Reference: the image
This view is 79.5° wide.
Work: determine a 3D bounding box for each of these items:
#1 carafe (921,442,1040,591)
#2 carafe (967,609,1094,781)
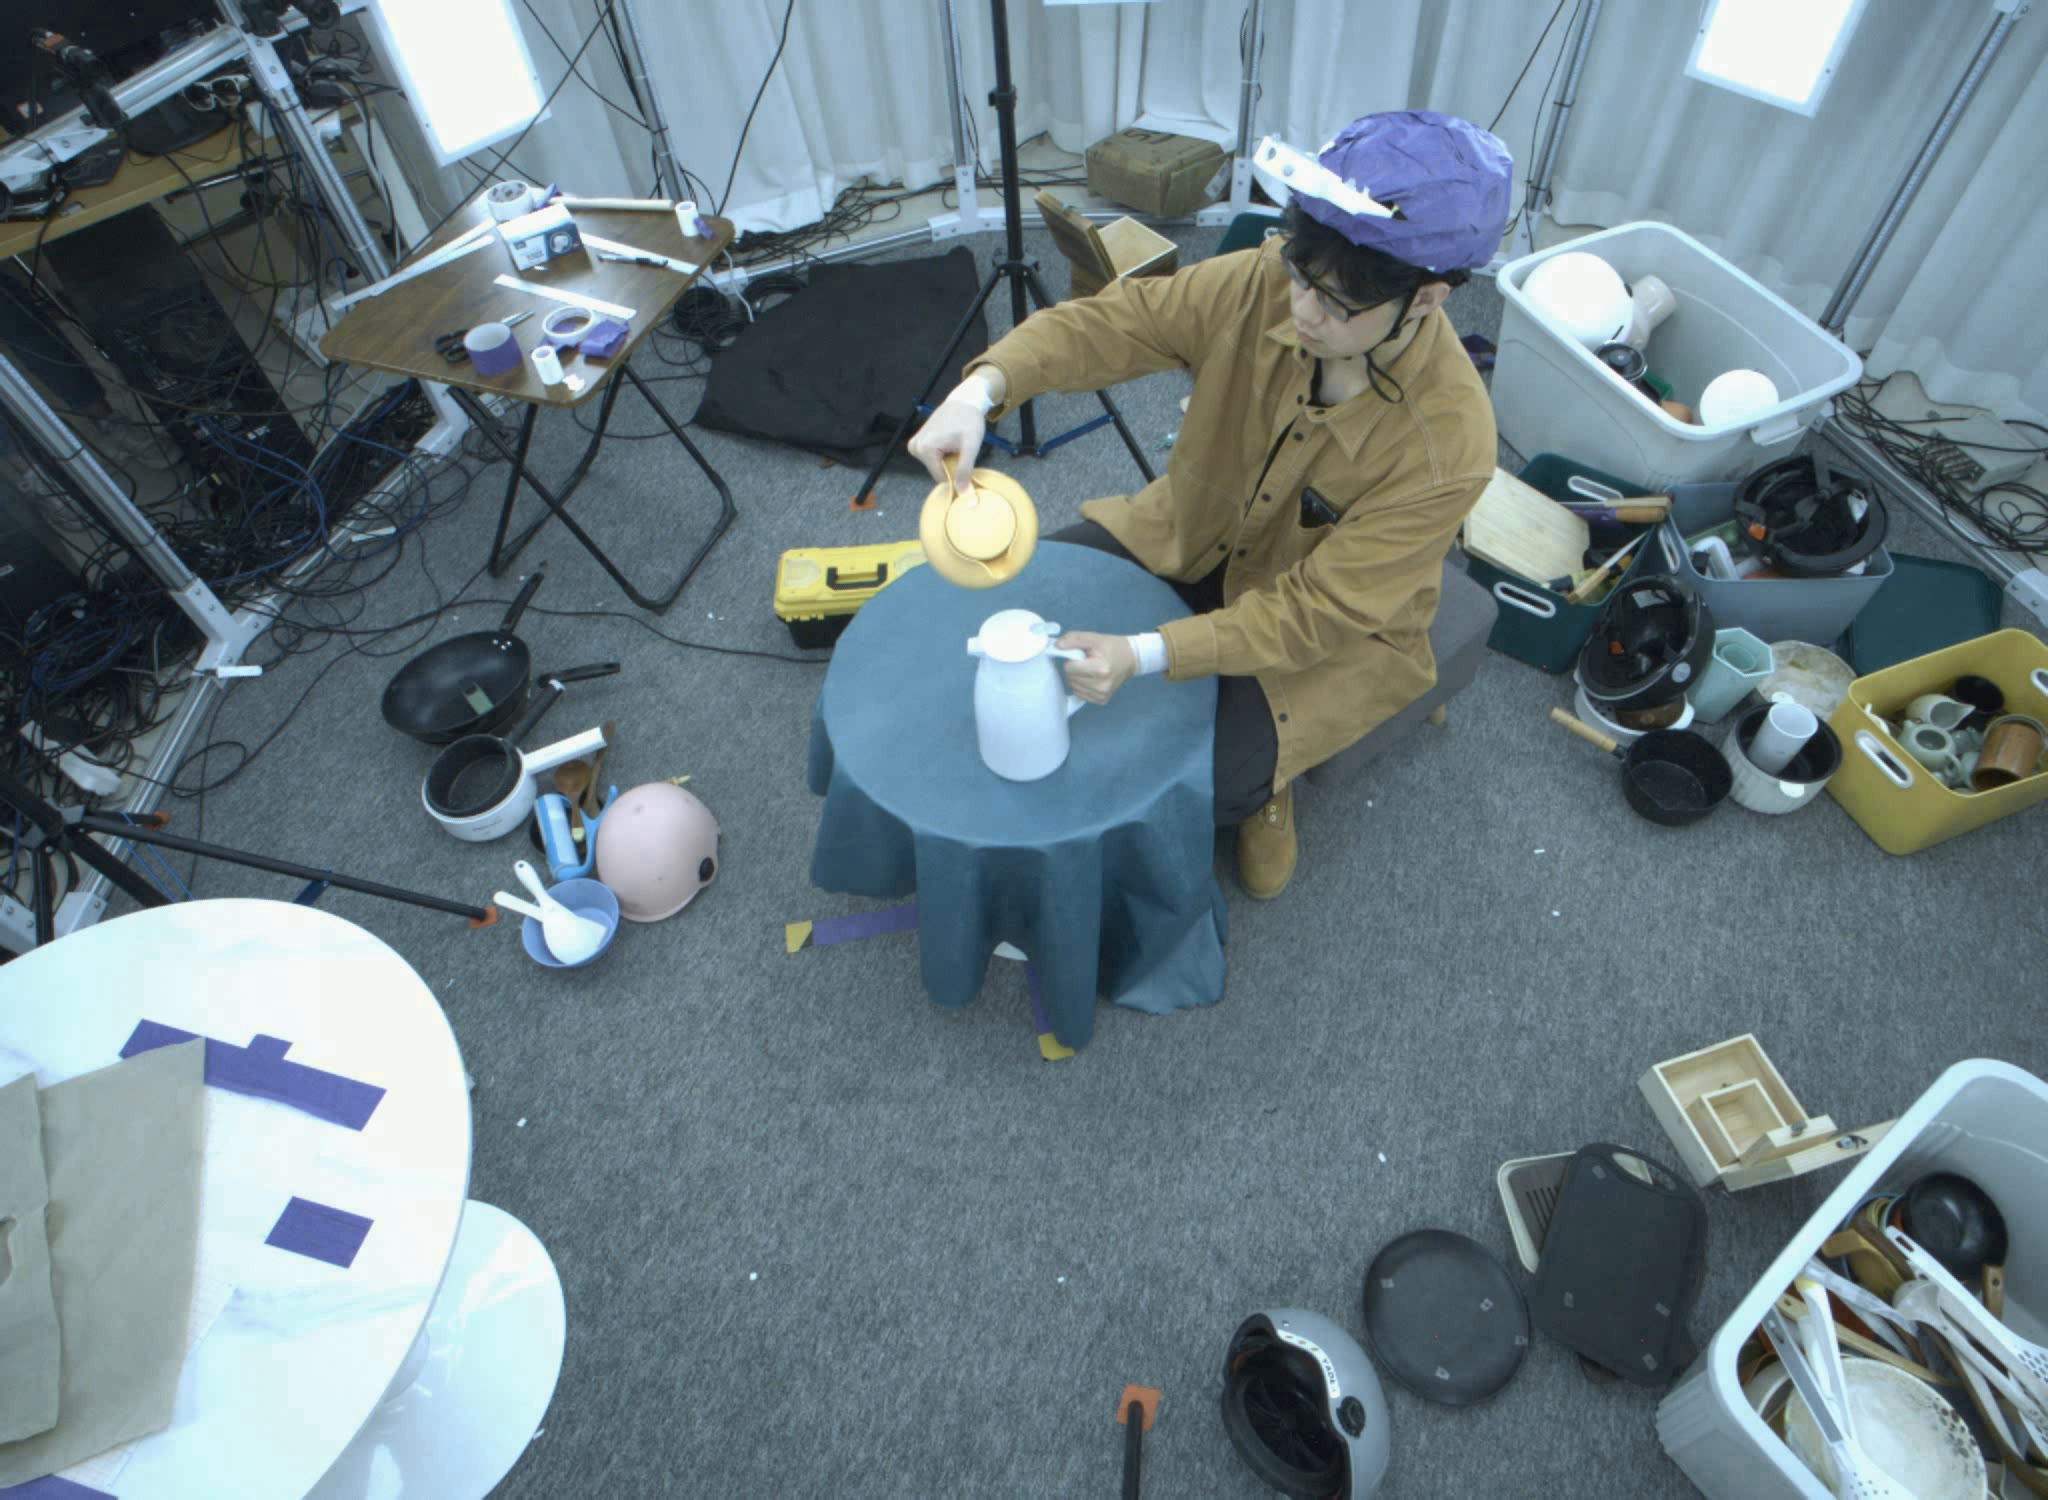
[{"bbox_3d":[-0.066,-0.315,1.649,0.164,0.258,0.203,-22,98,-2],"label":"carafe"},{"bbox_3d":[0.012,-0.083,1.689,0.168,0.251,0.131,-4,54,0],"label":"carafe"}]
